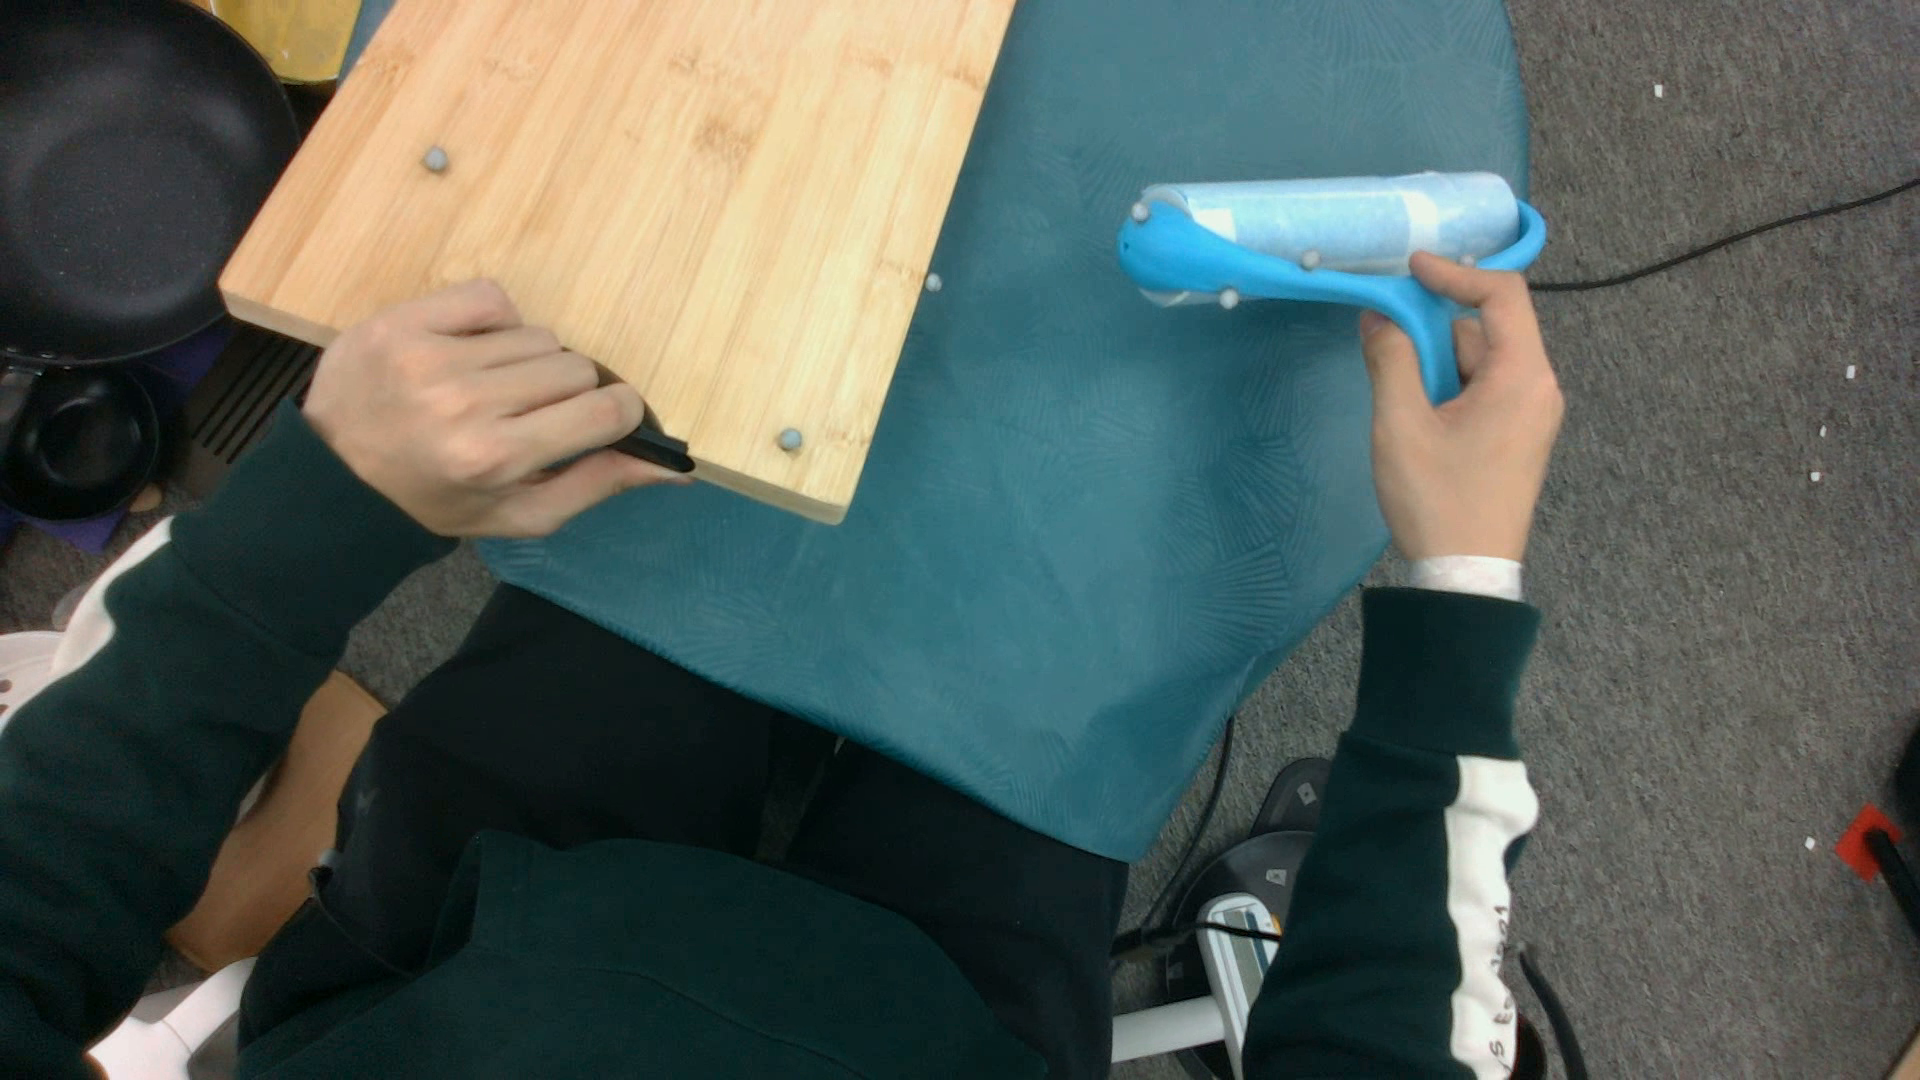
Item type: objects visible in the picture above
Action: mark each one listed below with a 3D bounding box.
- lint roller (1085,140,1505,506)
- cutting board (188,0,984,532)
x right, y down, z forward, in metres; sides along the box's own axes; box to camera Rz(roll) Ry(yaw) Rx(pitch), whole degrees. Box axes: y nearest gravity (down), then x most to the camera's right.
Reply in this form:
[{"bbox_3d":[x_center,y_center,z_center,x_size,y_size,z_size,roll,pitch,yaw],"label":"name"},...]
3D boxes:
[{"bbox_3d":[0.182,-0.109,0.638,0.229,0.067,0.180,-12,69,-29],"label":"lint roller"},{"bbox_3d":[-0.131,-0.188,0.600,0.251,0.023,0.350,16,62,-8],"label":"cutting board"}]
